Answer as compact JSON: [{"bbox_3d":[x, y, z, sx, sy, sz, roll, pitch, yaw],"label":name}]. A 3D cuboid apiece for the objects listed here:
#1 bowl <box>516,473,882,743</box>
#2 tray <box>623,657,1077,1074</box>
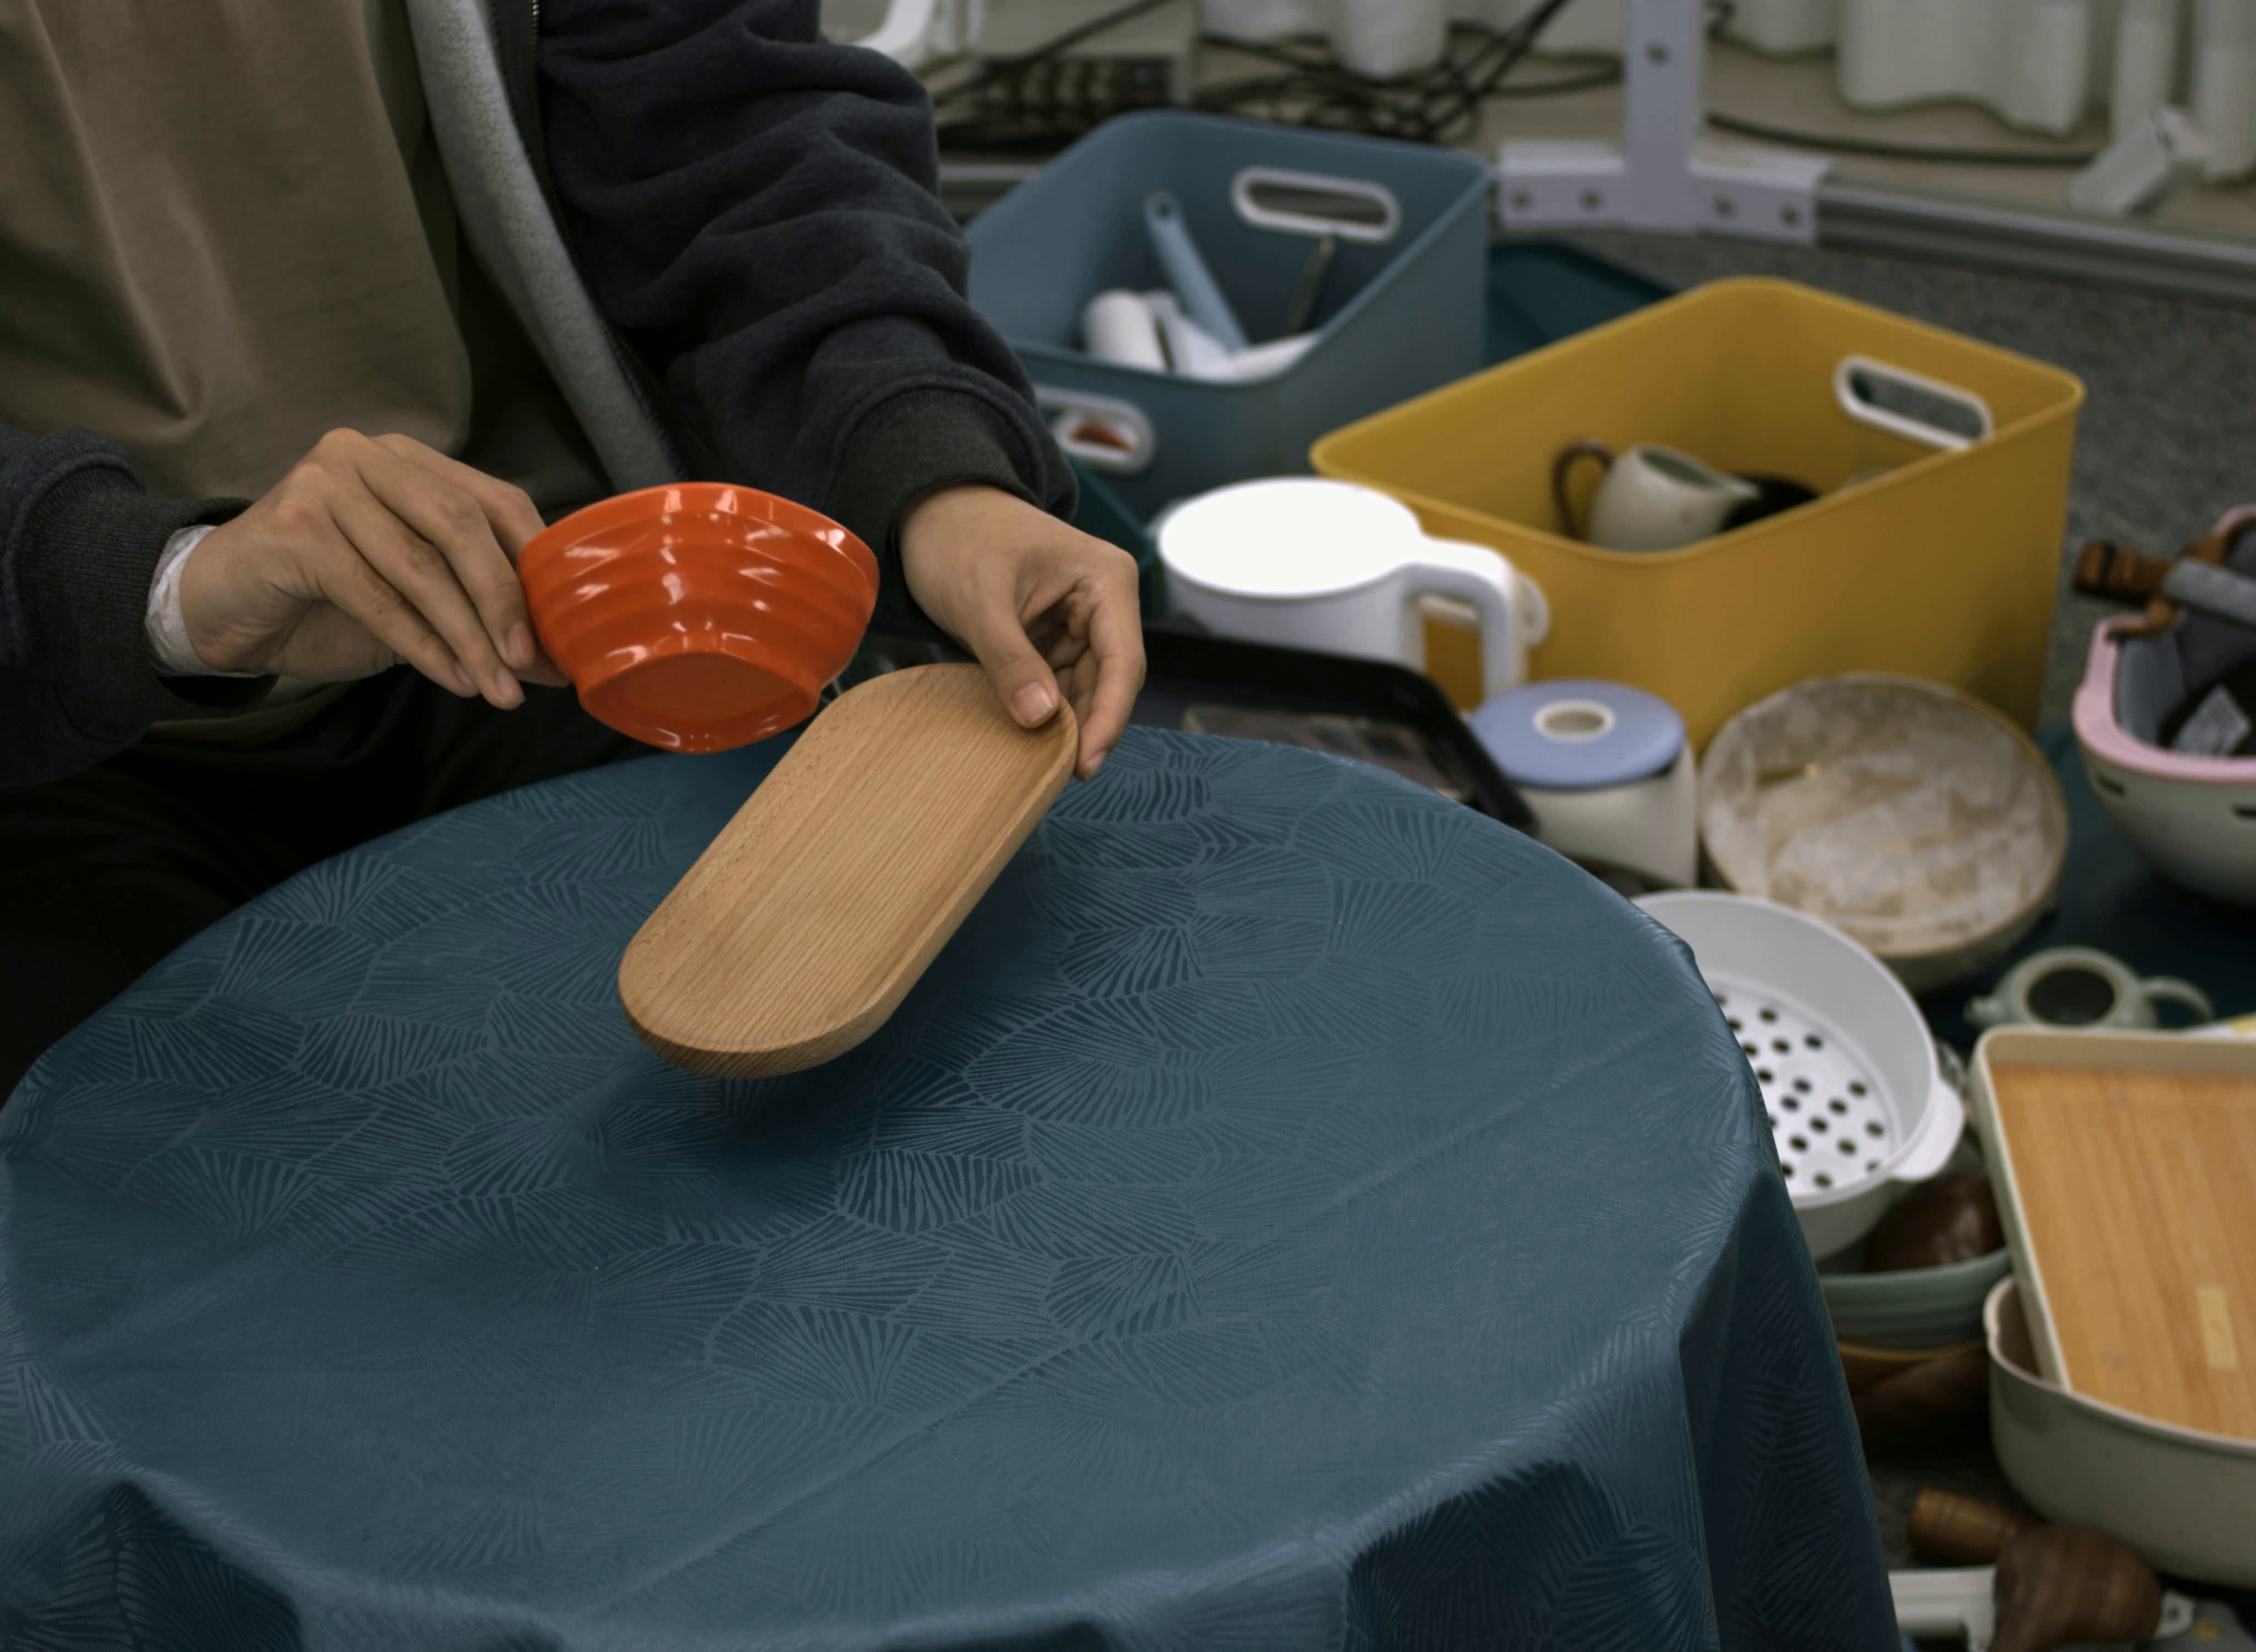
[{"bbox_3d":[-0.138,-0.065,1.815,0.118,0.117,0.052,-2,66,1],"label":"bowl"},{"bbox_3d":[-0.094,0.012,1.956,0.101,0.020,0.235,10,38,22],"label":"tray"}]
